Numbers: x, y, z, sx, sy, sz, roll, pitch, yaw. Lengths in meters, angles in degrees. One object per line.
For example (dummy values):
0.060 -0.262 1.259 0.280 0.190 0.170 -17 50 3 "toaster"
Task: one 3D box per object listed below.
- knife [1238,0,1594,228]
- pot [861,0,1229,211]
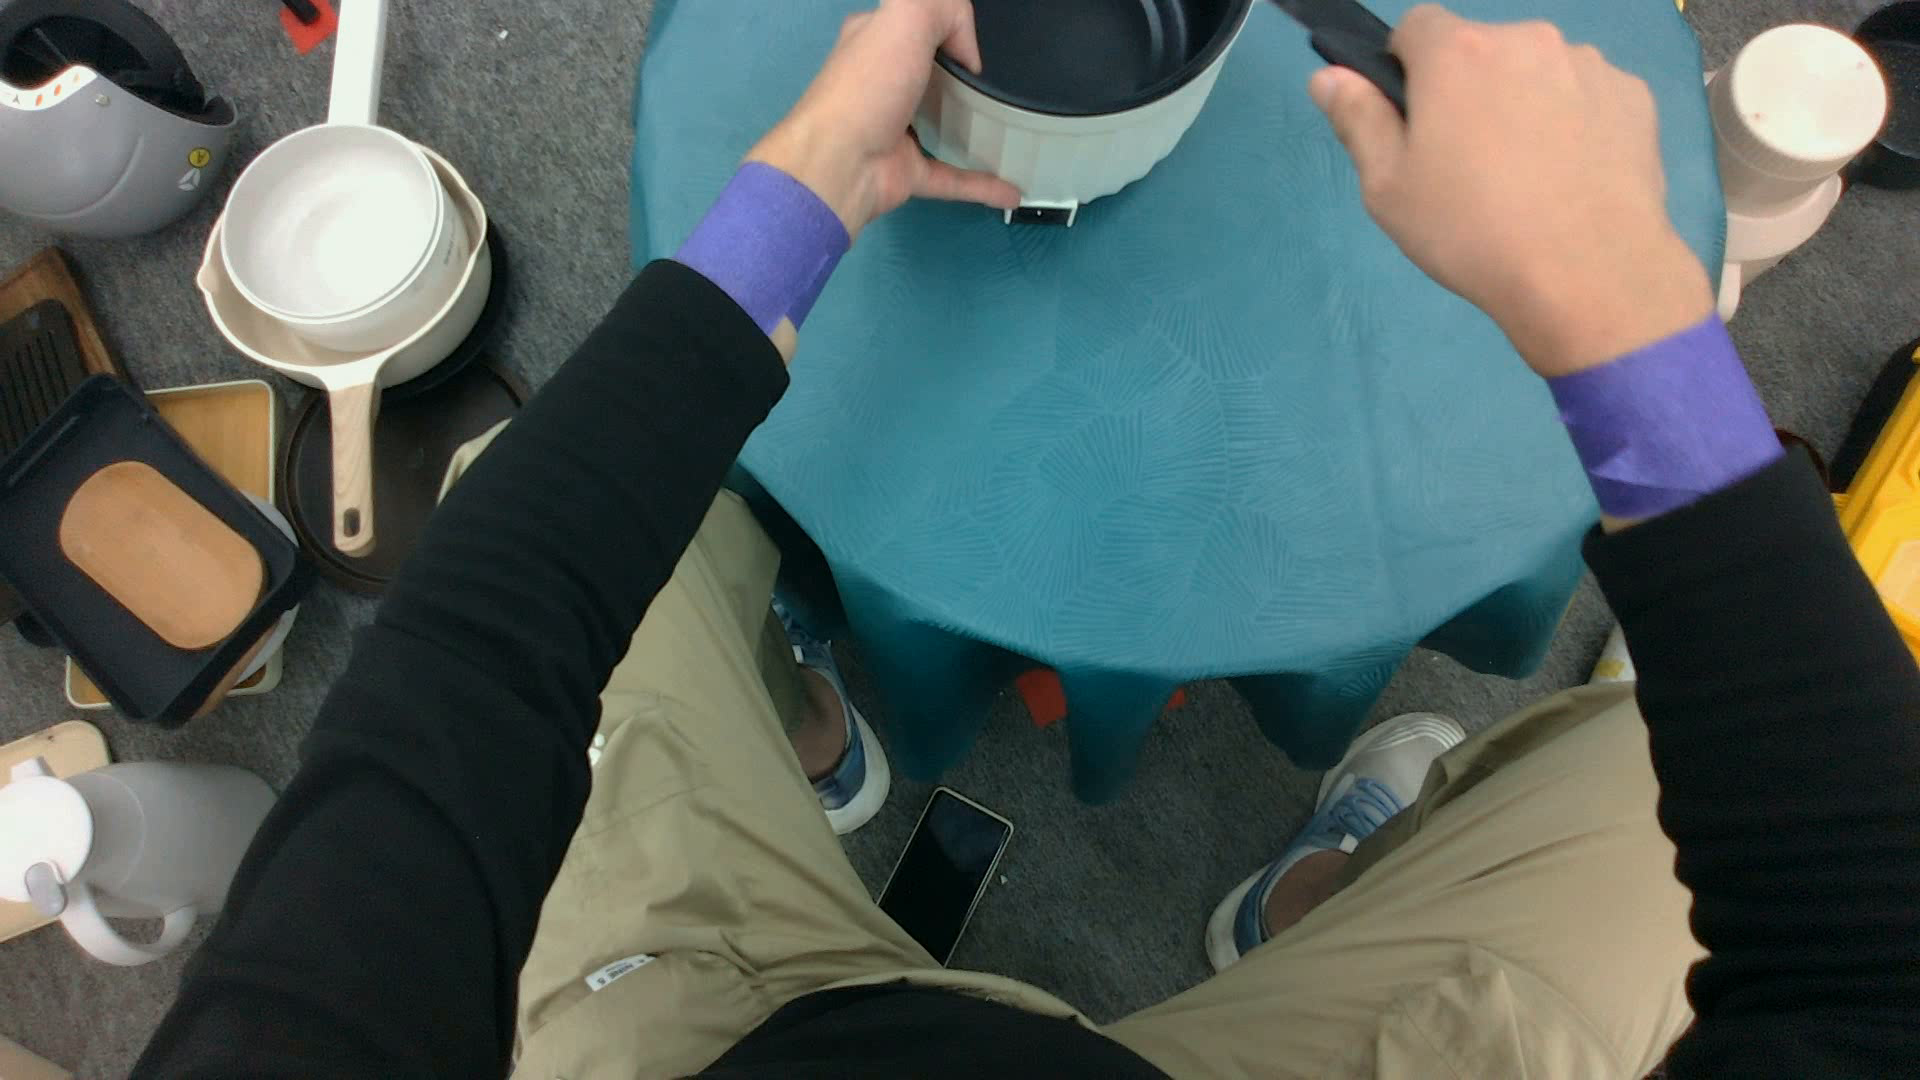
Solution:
0.125 -0.215 0.544 0.081 0.021 0.303 -14 52 -38 "knife"
0.037 -0.282 0.711 0.240 0.142 0.190 1 83 -5 "pot"
